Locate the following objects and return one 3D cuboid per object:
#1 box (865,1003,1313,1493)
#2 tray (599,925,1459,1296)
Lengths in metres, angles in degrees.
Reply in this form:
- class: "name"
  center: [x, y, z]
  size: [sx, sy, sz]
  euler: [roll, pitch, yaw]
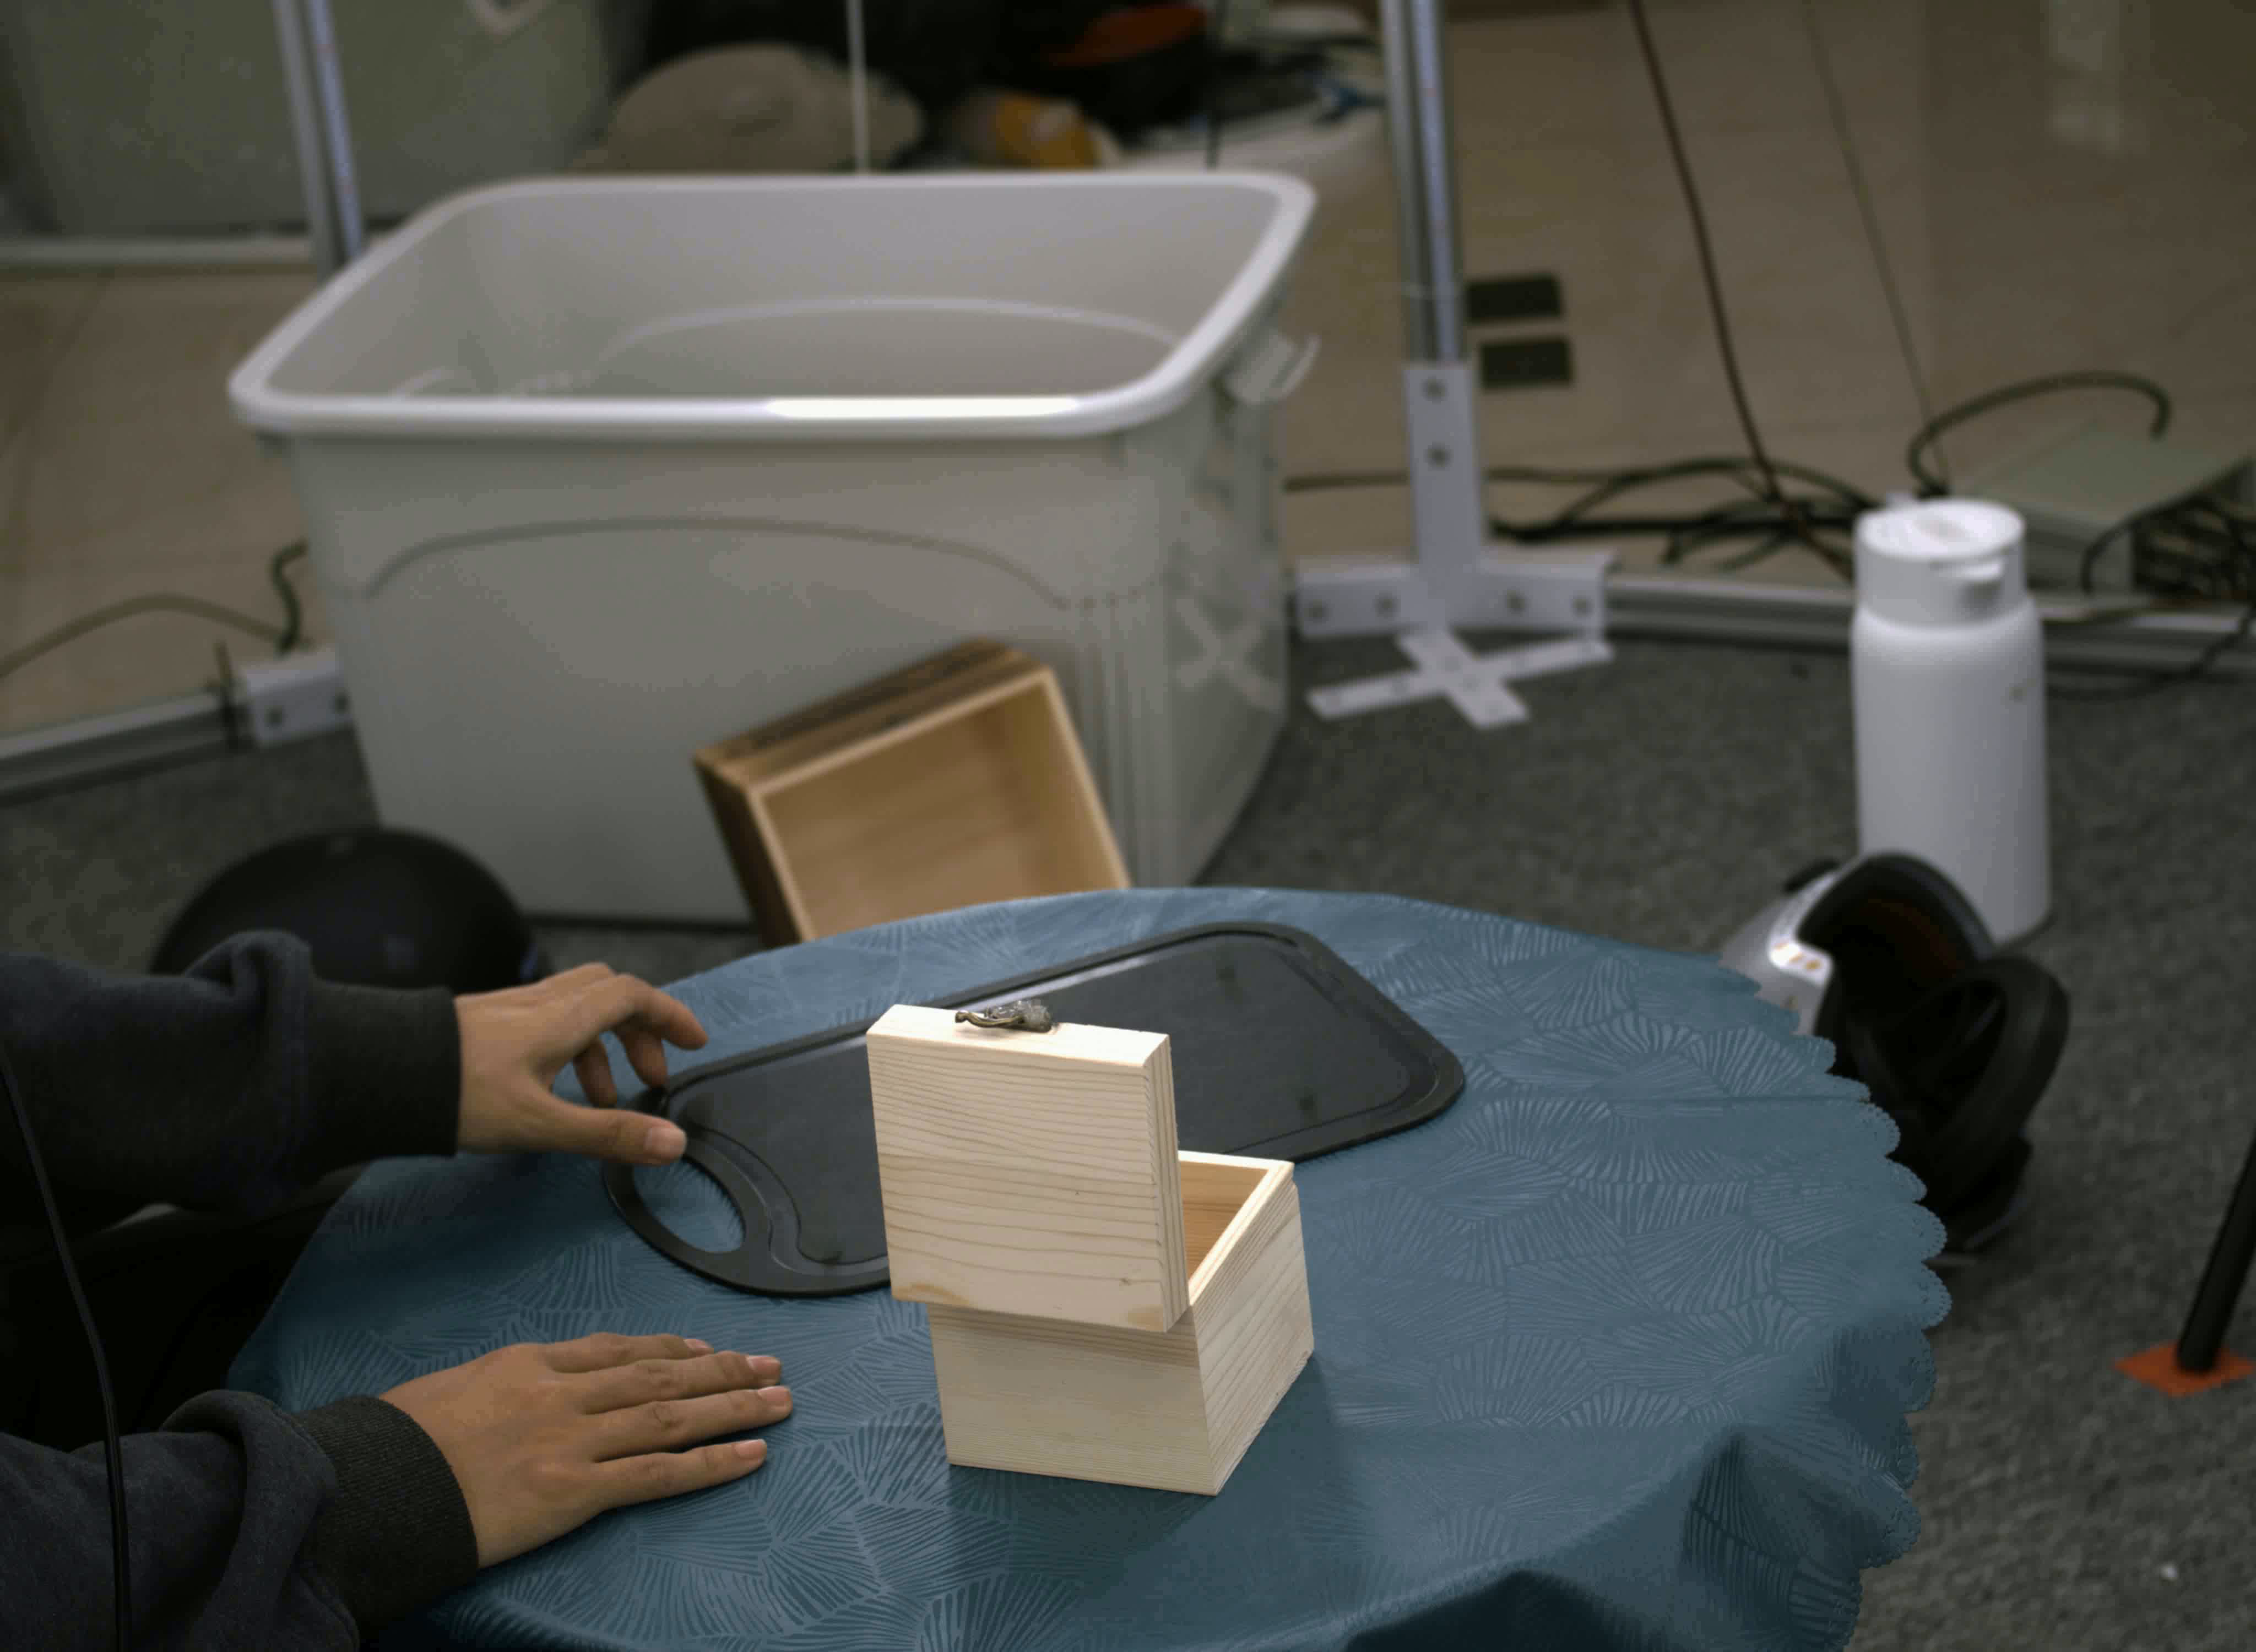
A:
- class: "box"
  center: [-0.011, 0.126, 1.955]
  size: [0.102, 0.187, 0.132]
  euler: [5, 29, 21]
- class: "tray"
  center: [-0.045, 0.109, 2.216]
  size: [0.324, 0.010, 0.208]
  euler: [-15, 26, -18]
